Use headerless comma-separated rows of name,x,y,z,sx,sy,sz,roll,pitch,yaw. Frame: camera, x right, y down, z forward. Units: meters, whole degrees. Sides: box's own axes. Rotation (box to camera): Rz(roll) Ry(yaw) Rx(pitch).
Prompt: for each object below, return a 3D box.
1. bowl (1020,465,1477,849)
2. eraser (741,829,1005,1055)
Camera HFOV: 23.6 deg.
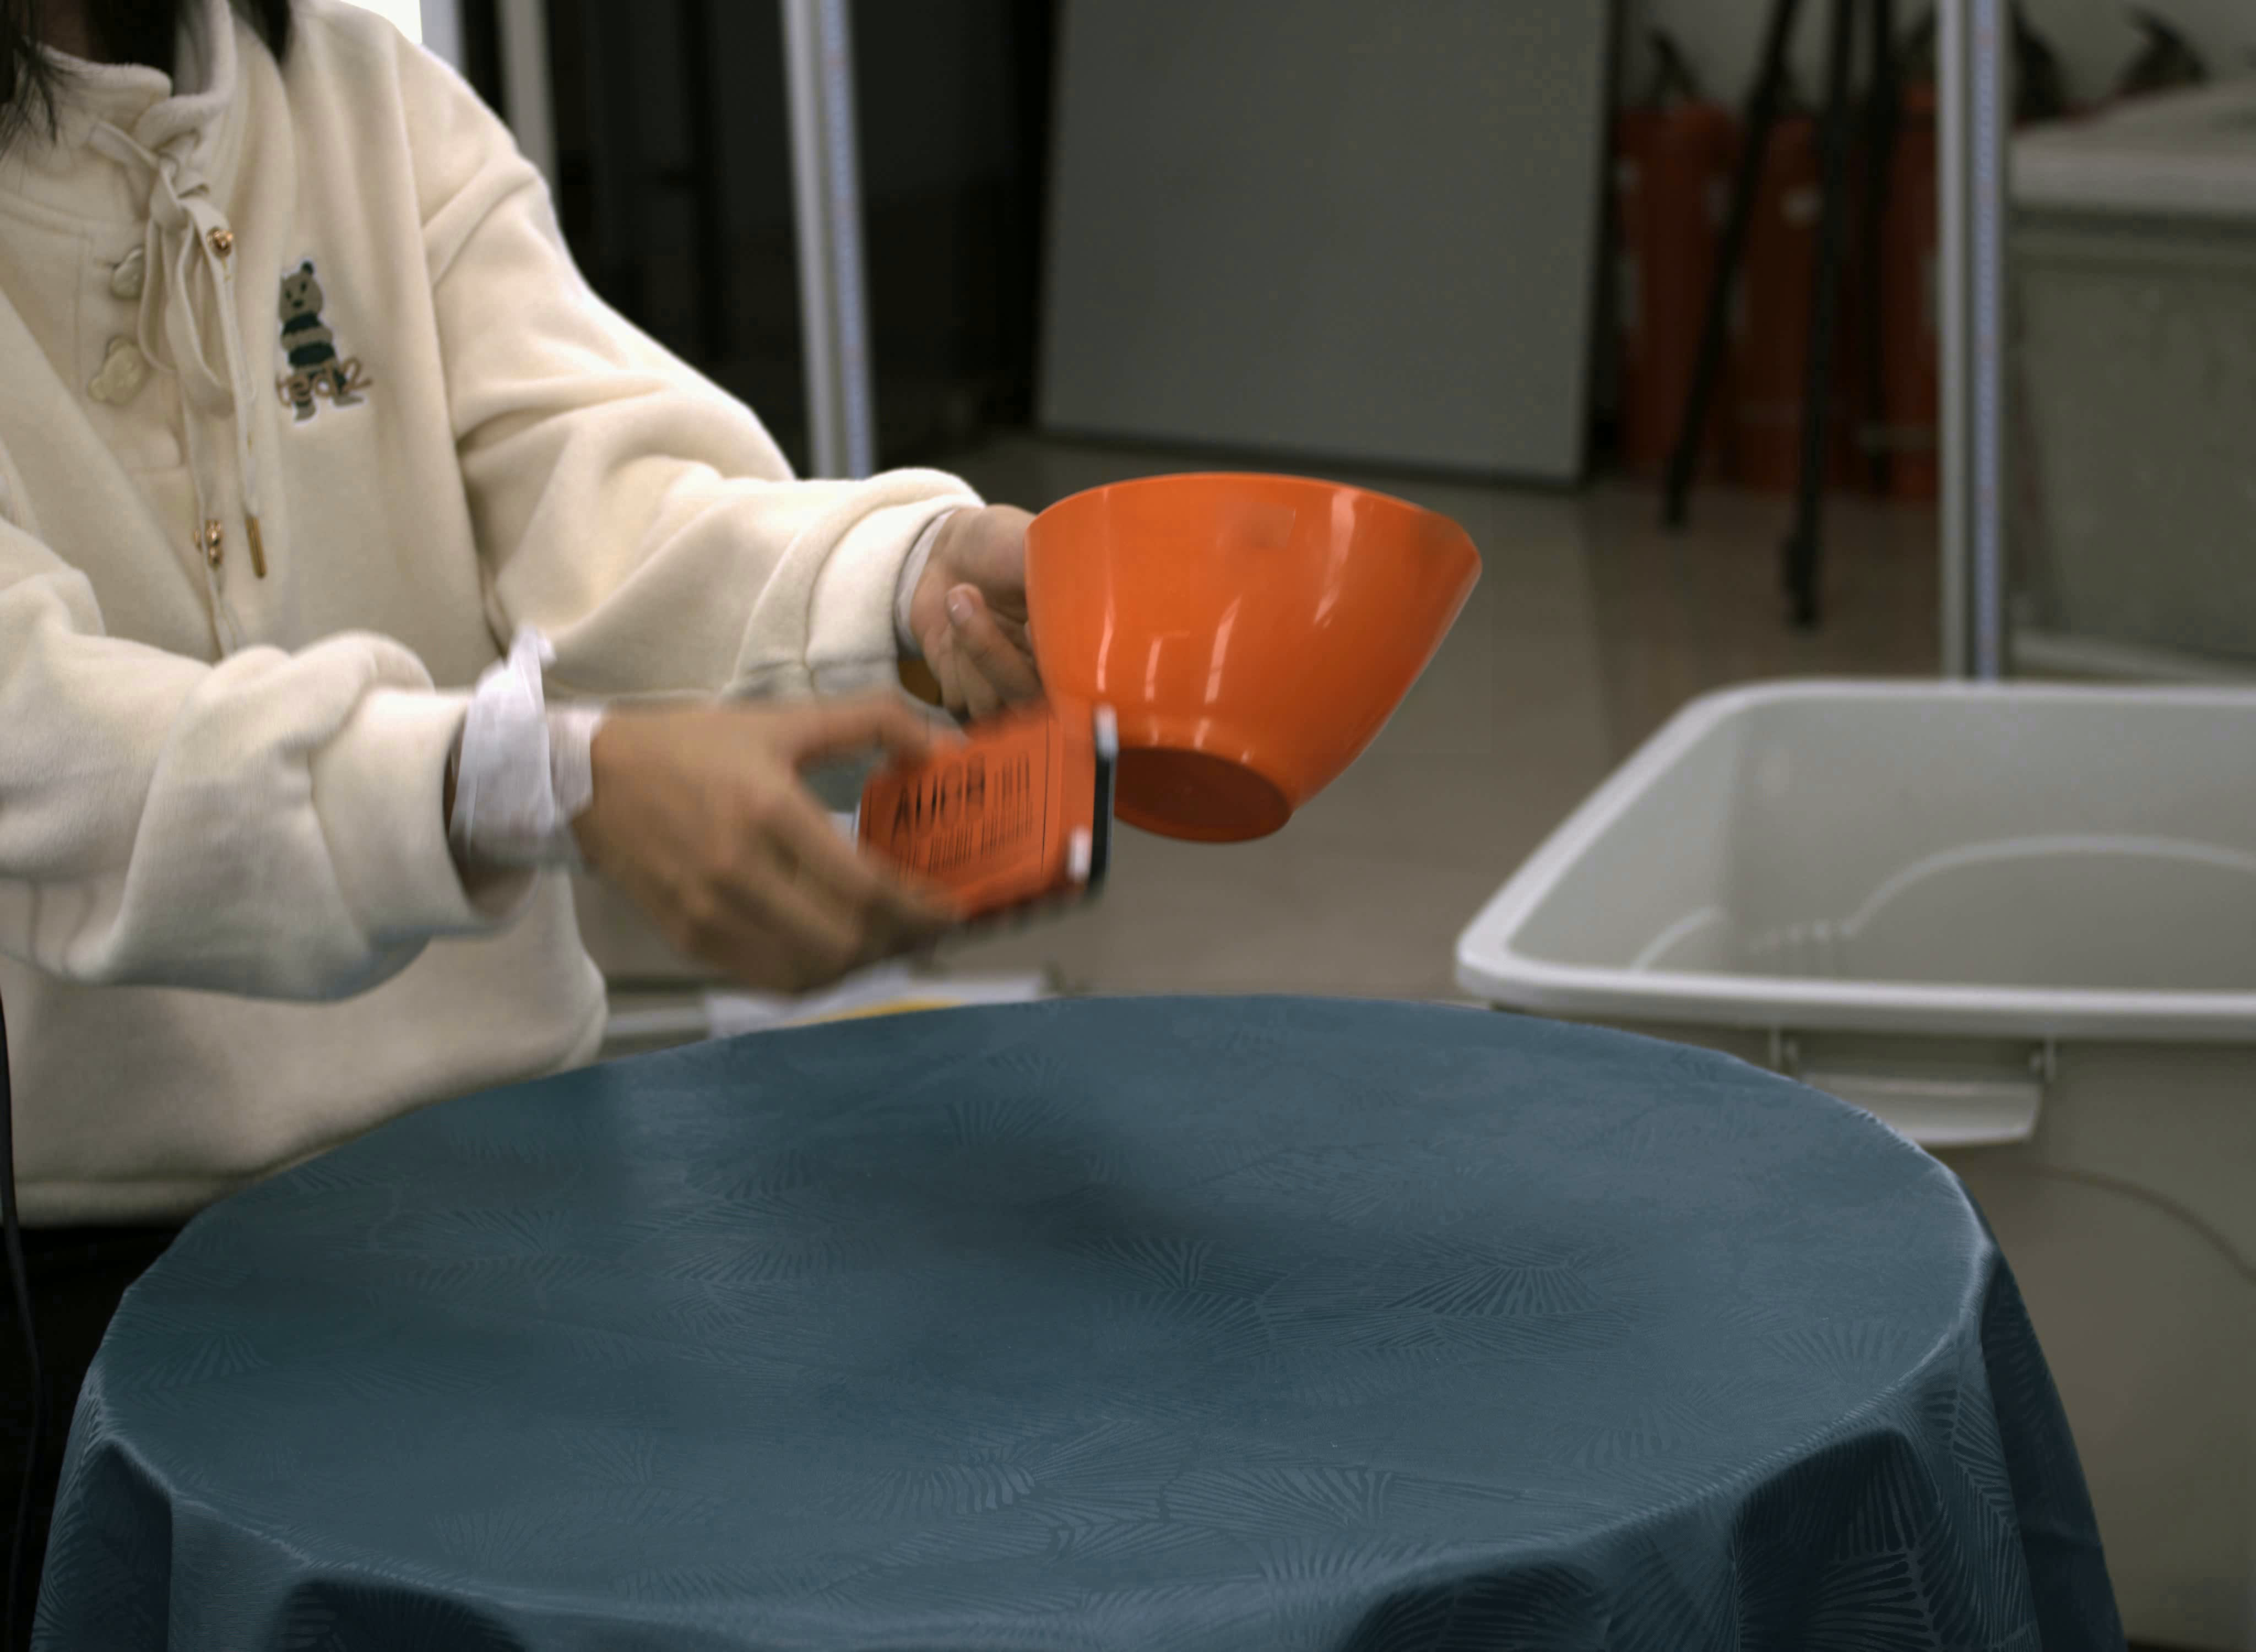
bowl,0.032,-0.049,1.707,0.146,0.105,0.148,10,-25,4
eraser,-0.078,0.036,1.649,0.022,0.059,0.109,20,-18,-30
